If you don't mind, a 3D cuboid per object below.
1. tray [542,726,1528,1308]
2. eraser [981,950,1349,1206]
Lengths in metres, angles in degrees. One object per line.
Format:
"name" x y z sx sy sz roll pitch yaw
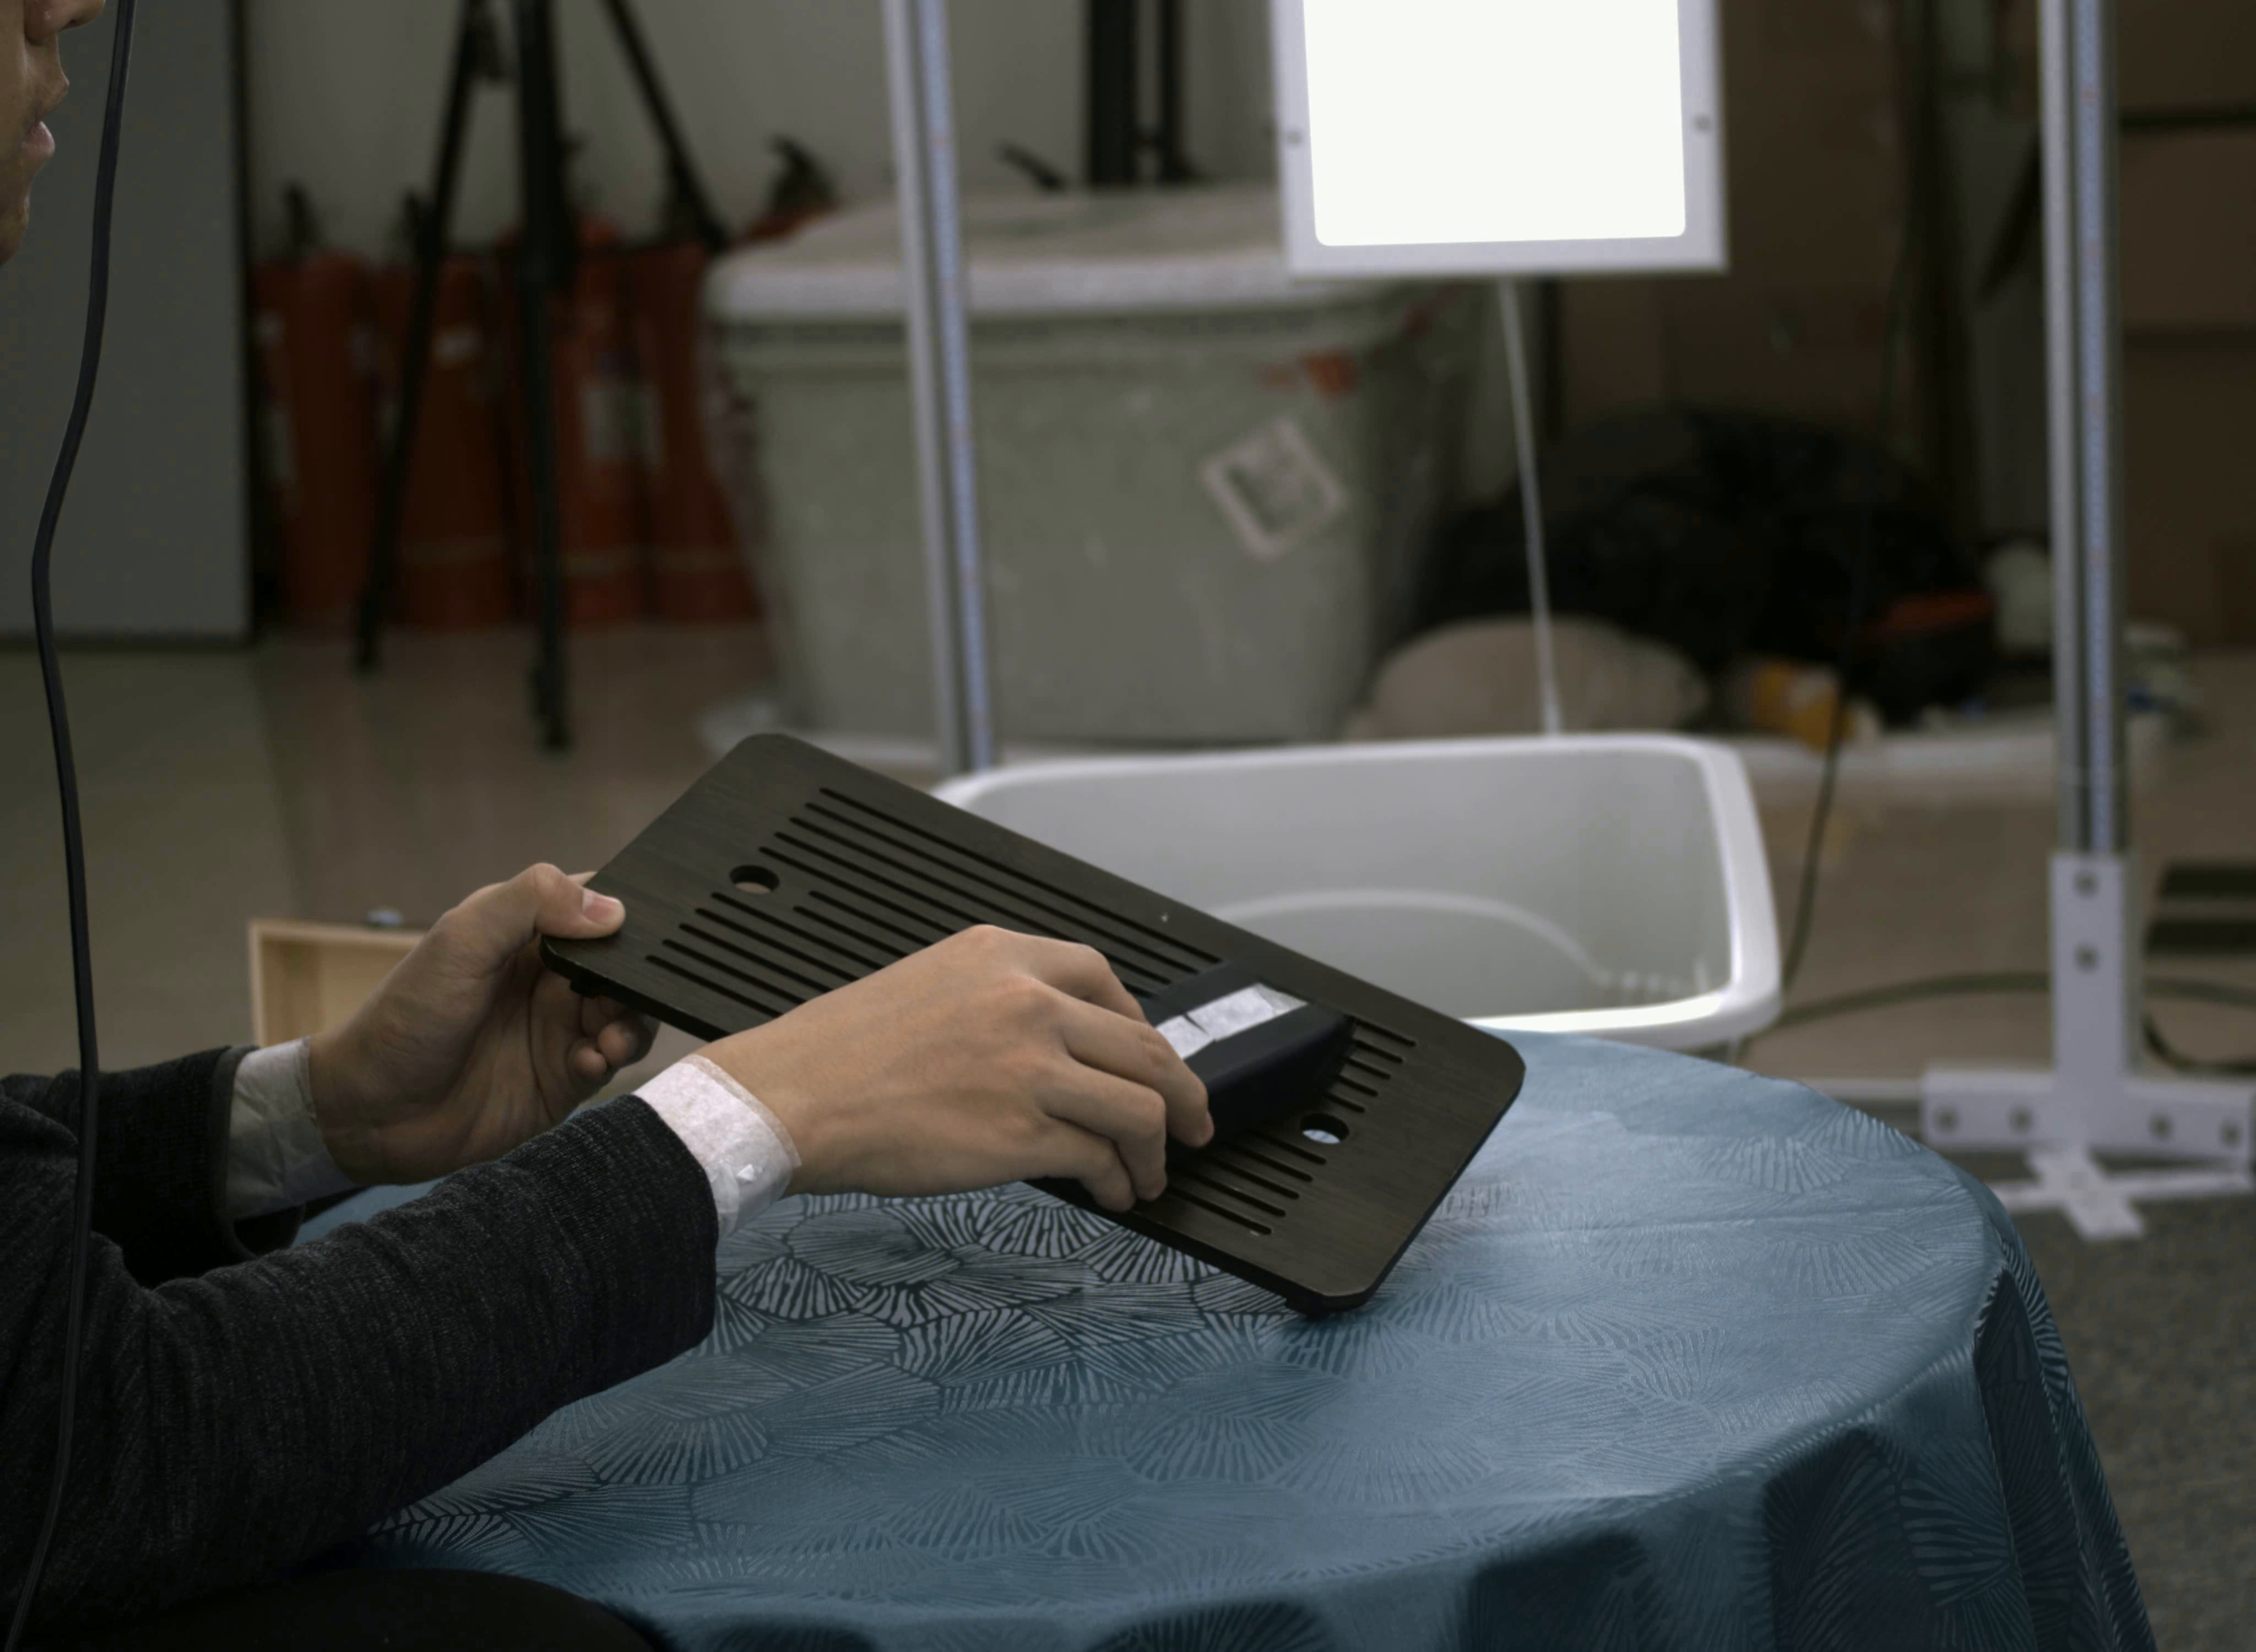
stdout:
"tray" -0.030 0.062 1.852 0.309 0.019 0.167 23 36 16
"eraser" 0.012 0.080 1.801 0.122 0.031 0.054 -25 46 -39
